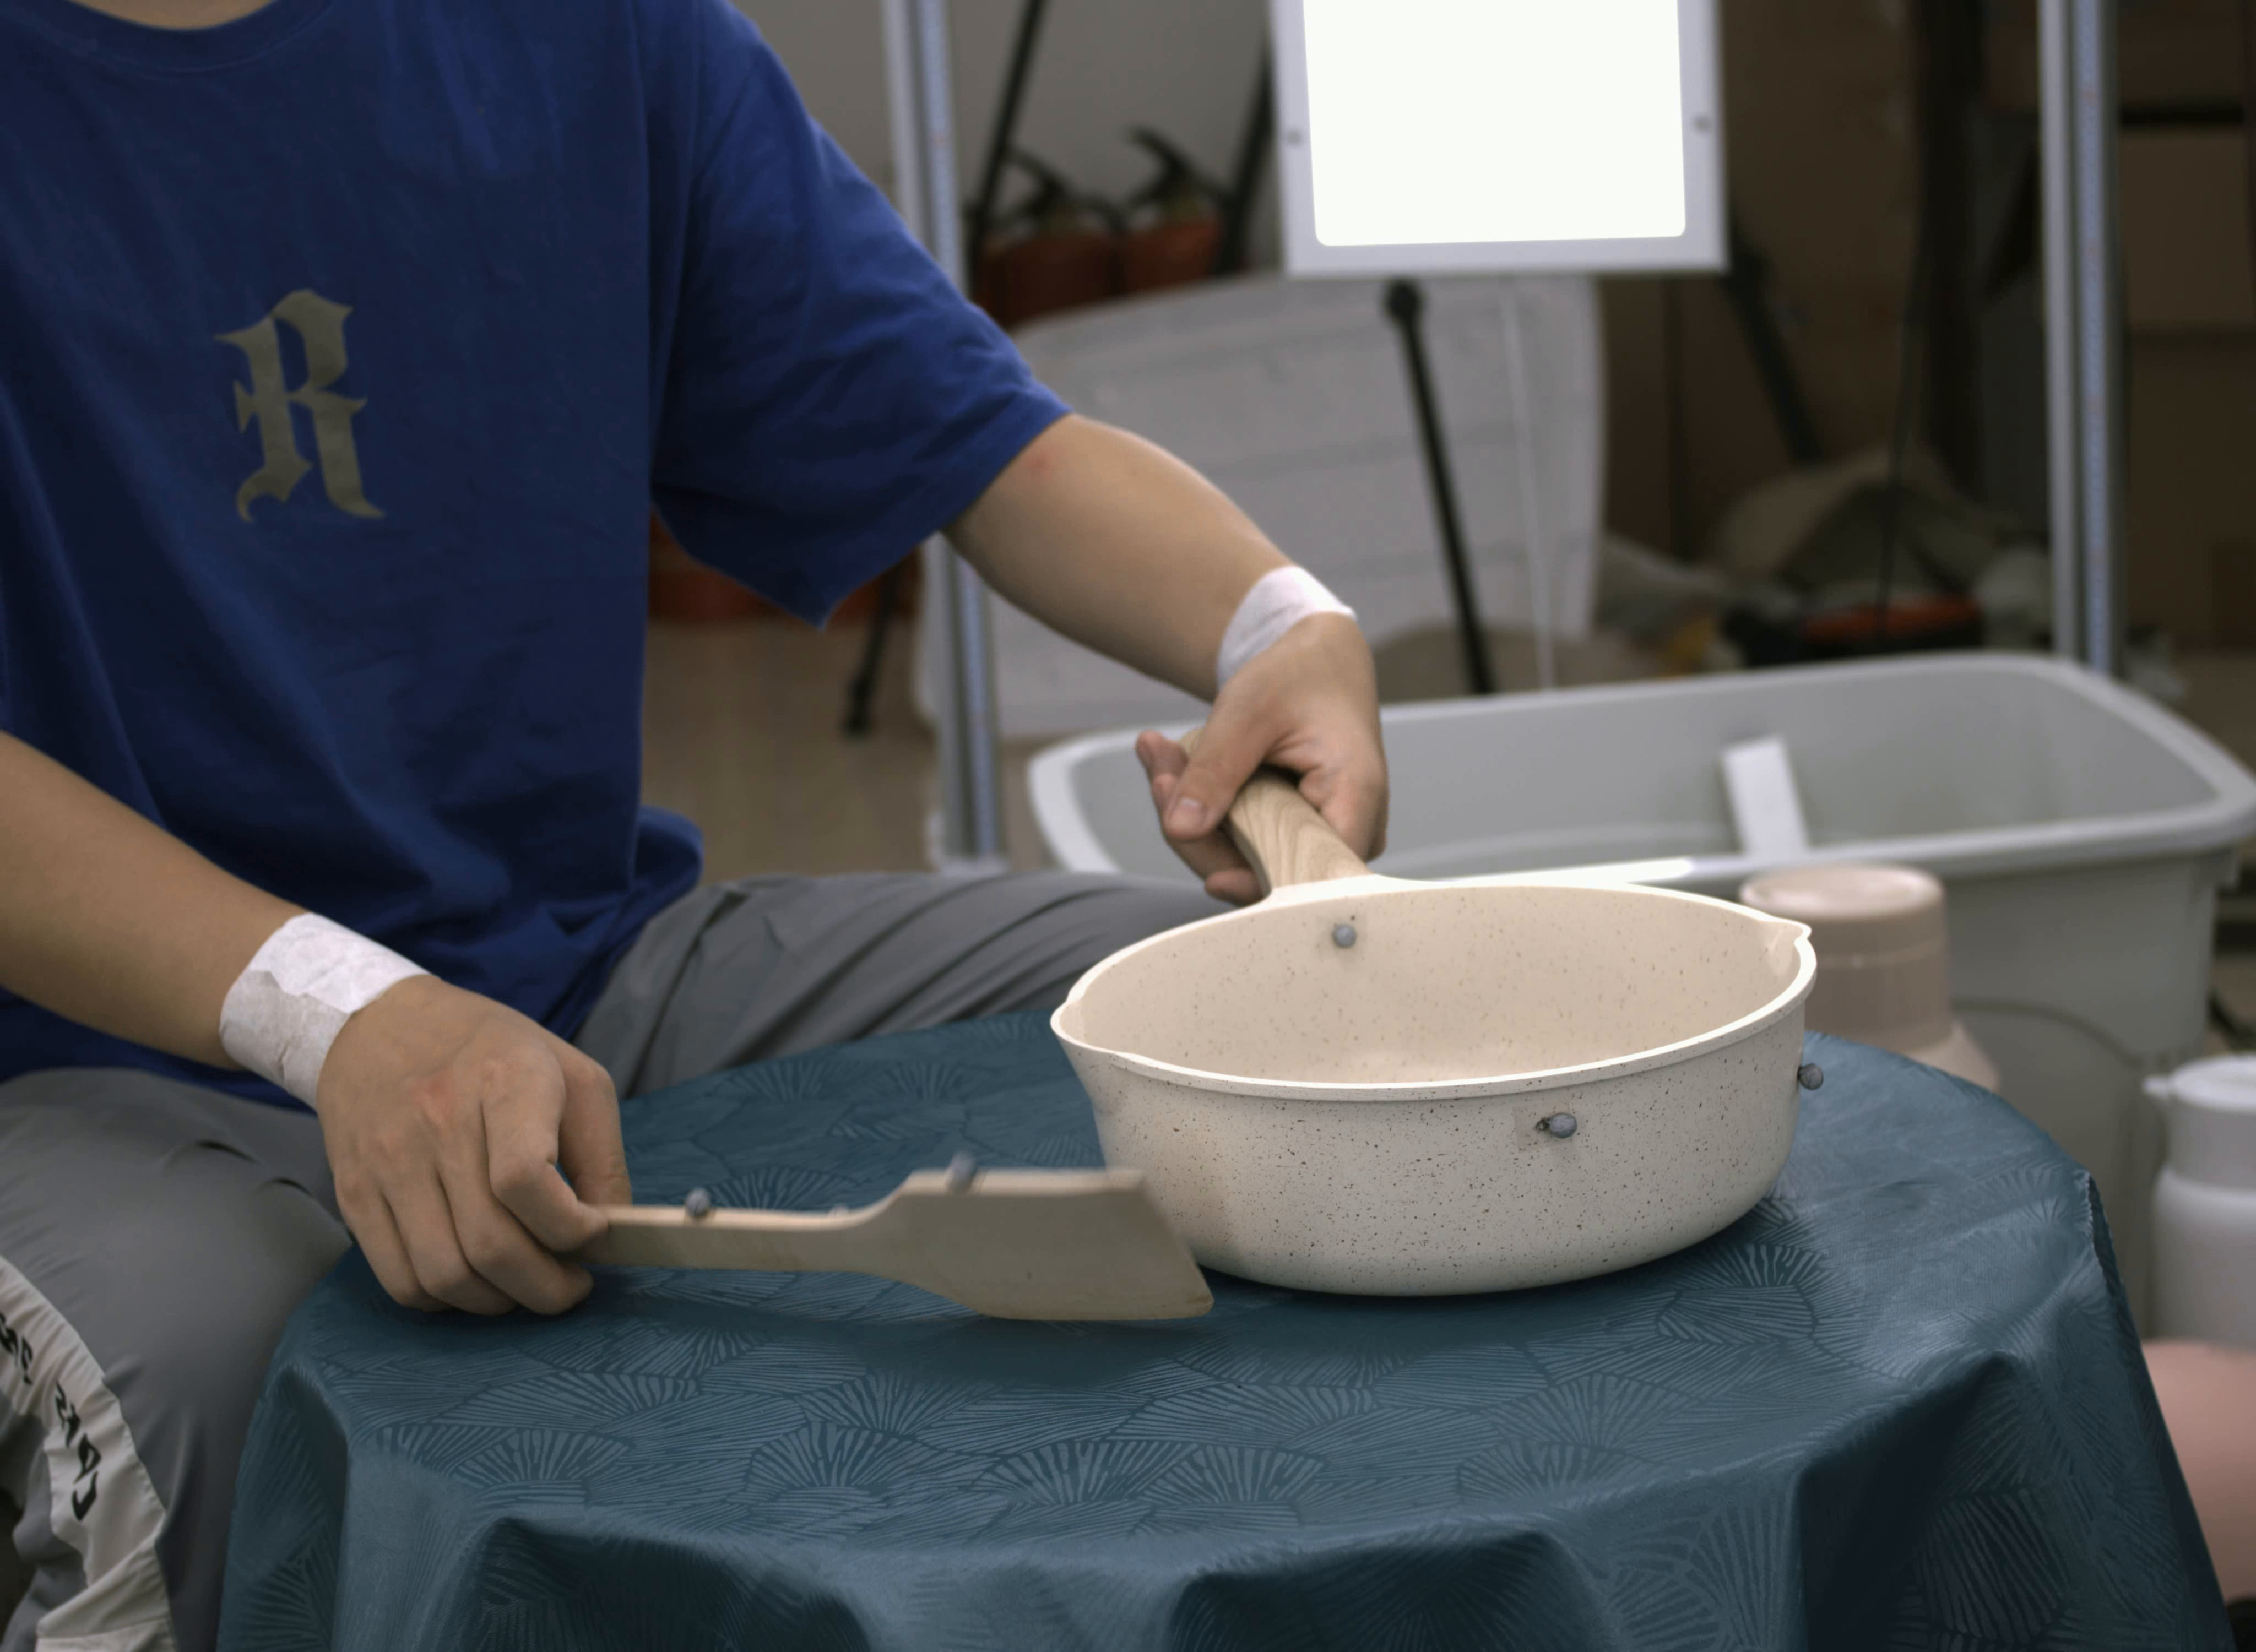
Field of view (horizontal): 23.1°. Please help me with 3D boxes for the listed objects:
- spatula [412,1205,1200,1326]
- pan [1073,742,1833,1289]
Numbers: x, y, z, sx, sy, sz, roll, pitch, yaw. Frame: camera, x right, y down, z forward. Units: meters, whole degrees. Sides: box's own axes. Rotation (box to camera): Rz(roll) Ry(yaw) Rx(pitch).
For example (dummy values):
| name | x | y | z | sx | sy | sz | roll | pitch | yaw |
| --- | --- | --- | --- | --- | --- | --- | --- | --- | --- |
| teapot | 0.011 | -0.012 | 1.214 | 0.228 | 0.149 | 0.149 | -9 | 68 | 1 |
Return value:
| name | x | y | z | sx | sy | sz | roll | pitch | yaw |
| --- | --- | --- | --- | --- | --- | --- | --- | --- | --- |
| spatula | -0.115 | 0.138 | 1.799 | 0.299 | 0.071 | 0.010 | 1 | 59 | 33 |
| pan | 0.089 | 0.060 | 1.925 | 0.260 | 0.102 | 0.439 | -10 | 14 | -12 |
